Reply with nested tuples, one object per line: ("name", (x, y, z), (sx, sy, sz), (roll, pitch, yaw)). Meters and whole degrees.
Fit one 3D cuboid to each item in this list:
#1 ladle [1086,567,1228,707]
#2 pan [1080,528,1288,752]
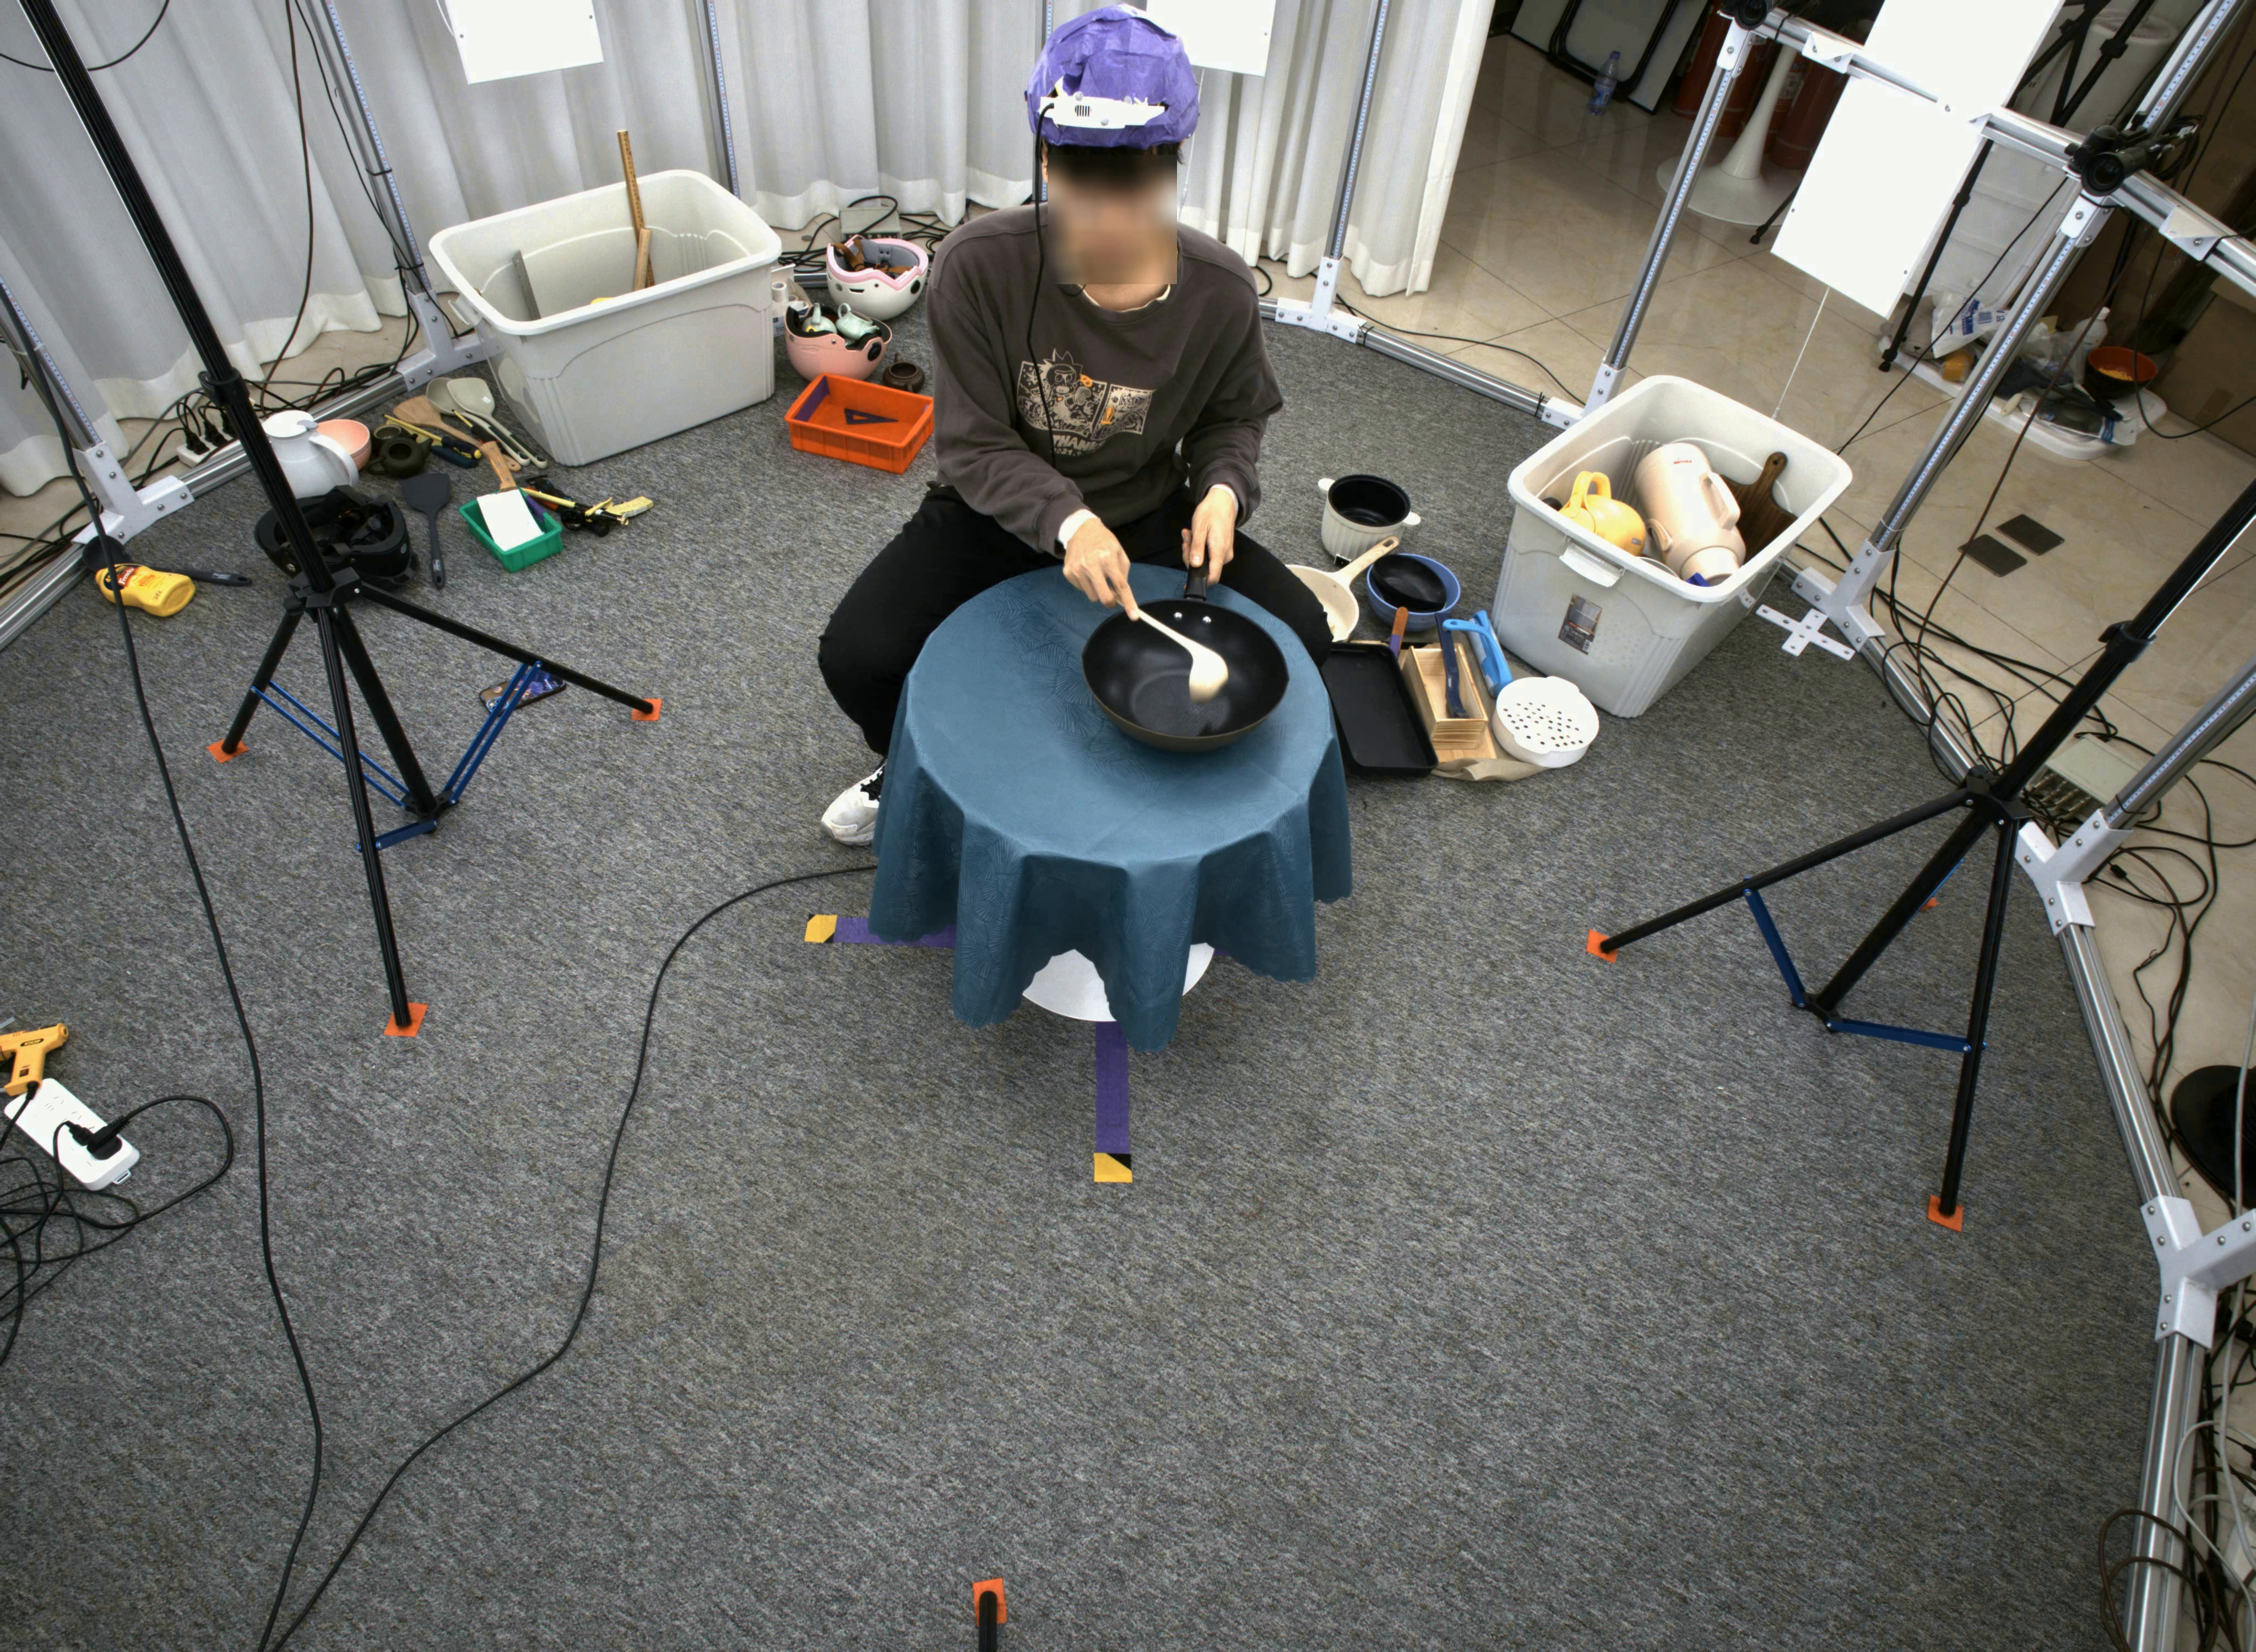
("ladle", (0.030, -0.261, 1.791), (0.257, 0.071, 0.073), (39, 50, 15))
("pan", (0.086, -0.264, 1.848), (0.288, 0.085, 0.474), (7, 48, 3))
